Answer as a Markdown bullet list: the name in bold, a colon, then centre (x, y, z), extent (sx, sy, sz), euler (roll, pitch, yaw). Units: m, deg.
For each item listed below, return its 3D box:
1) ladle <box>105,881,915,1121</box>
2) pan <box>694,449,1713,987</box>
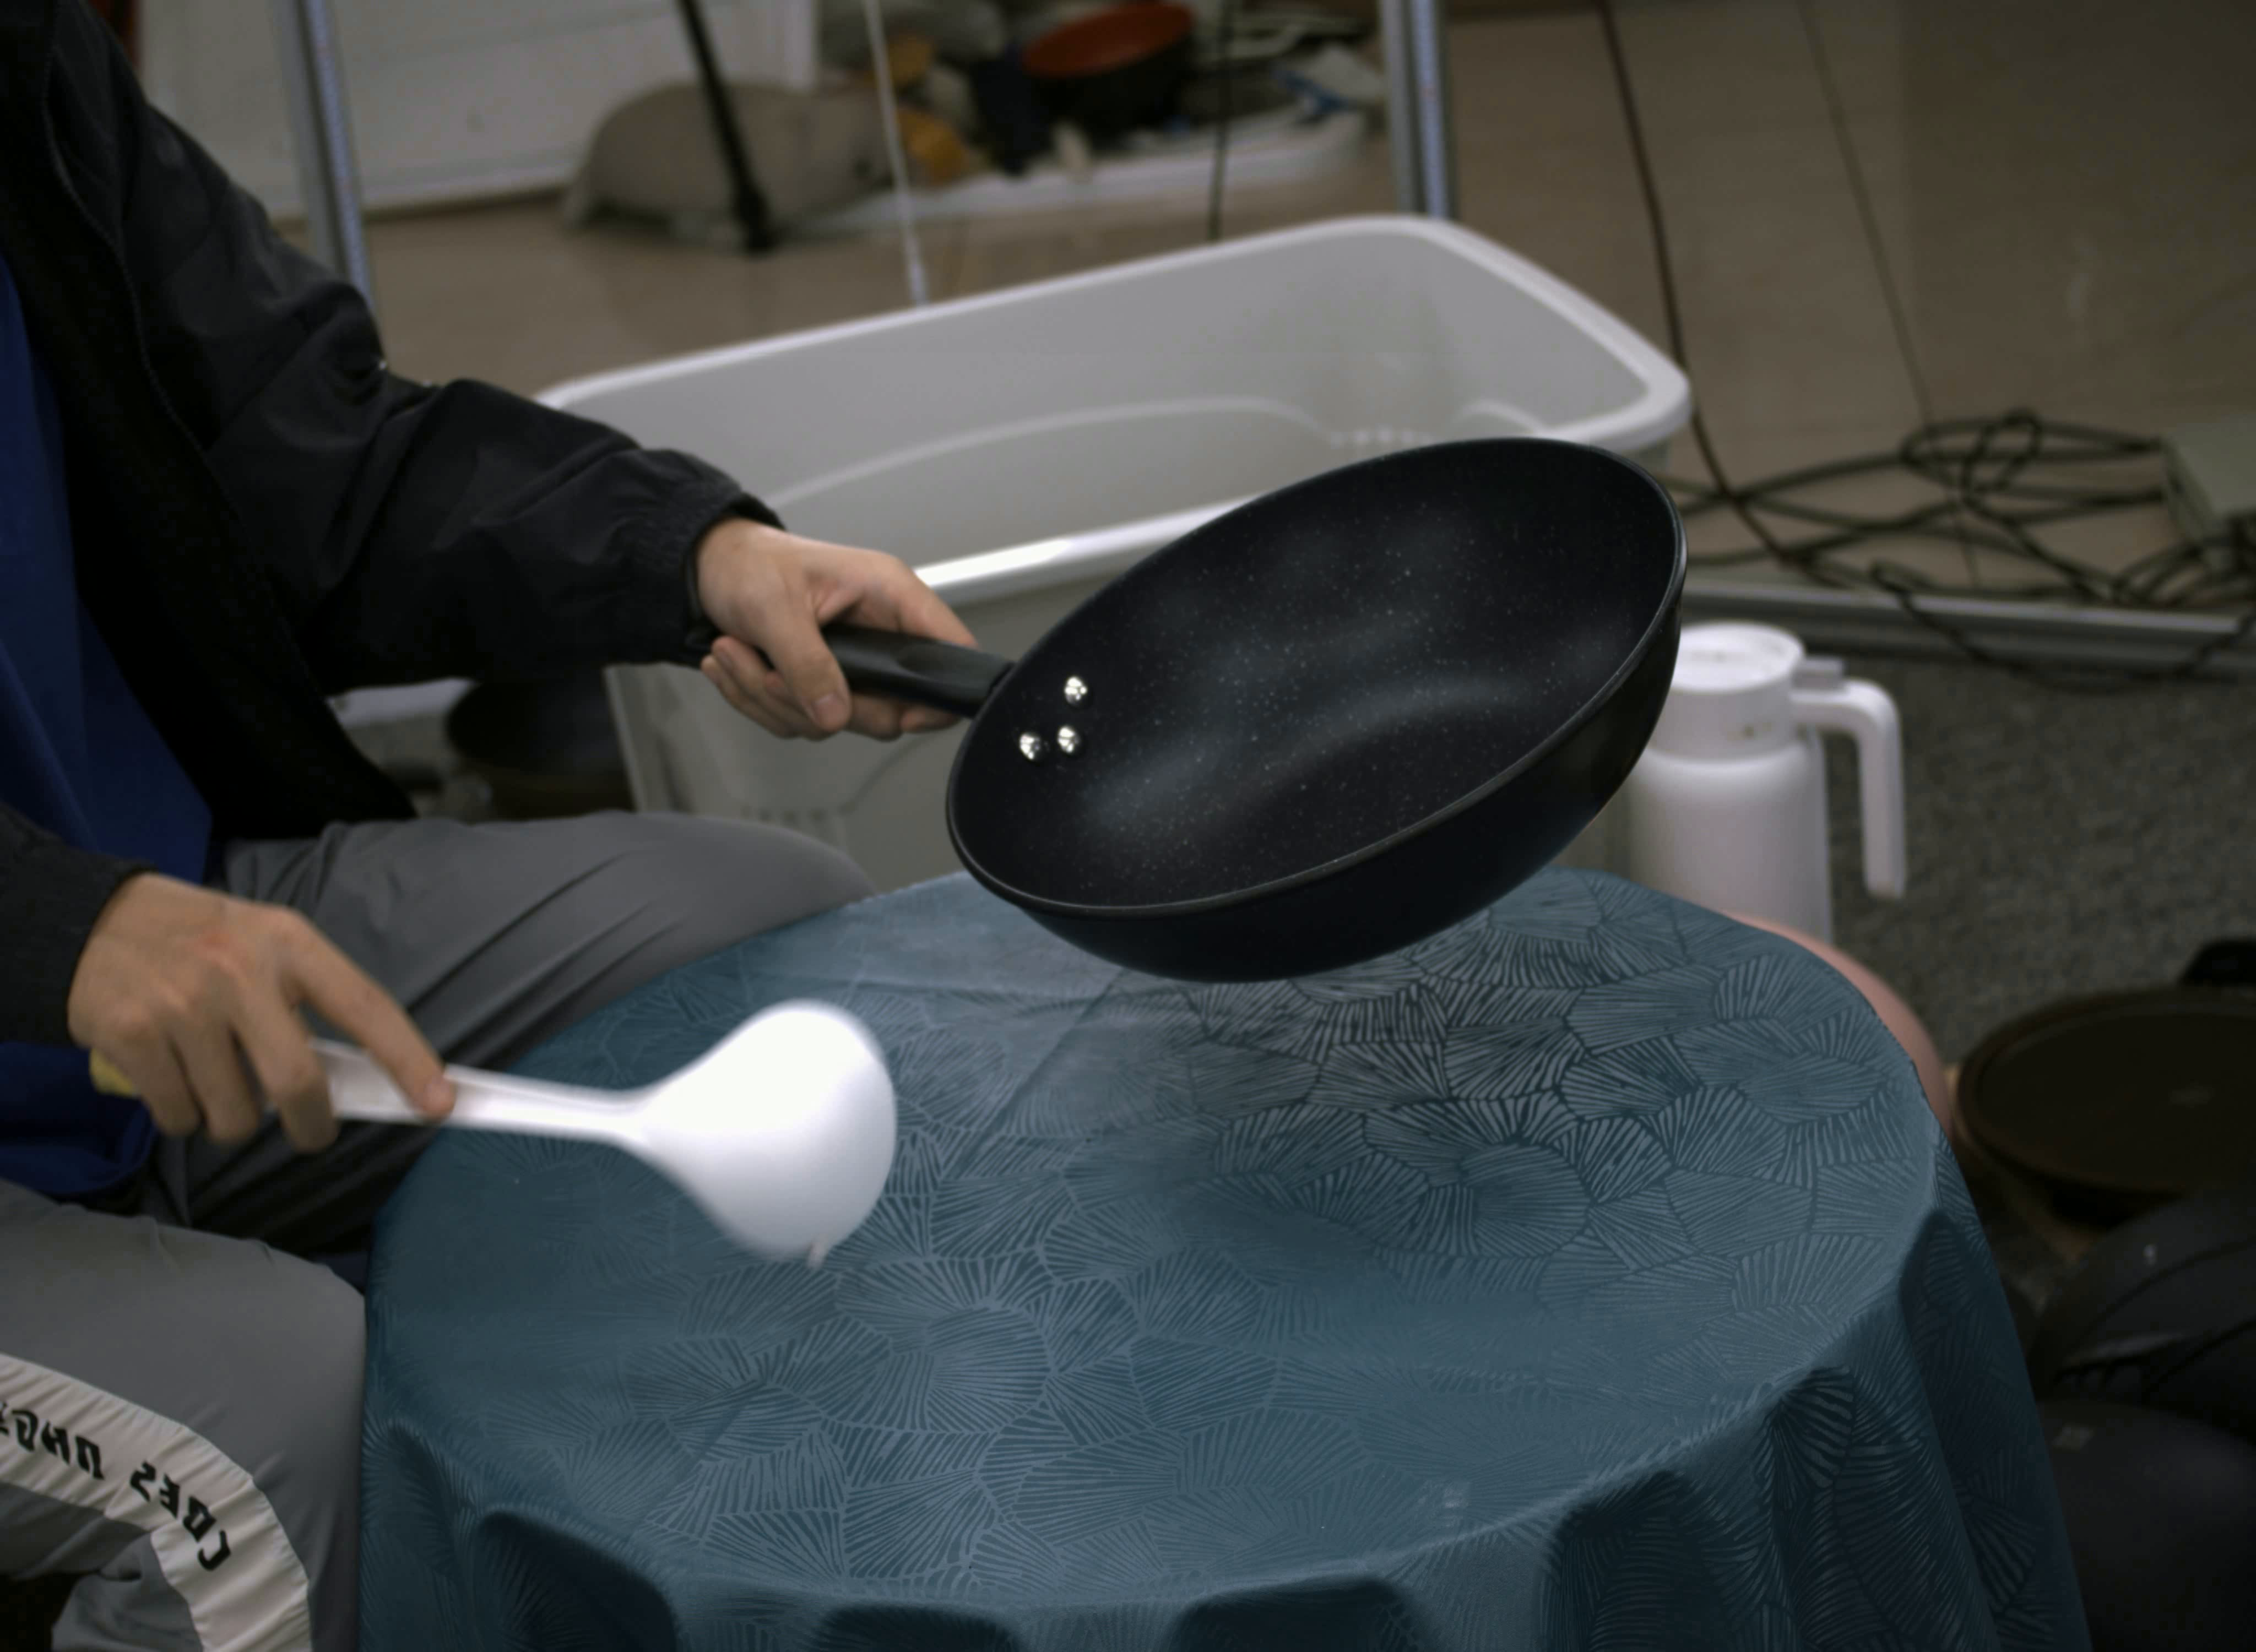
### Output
- **ladle**: centre (-0.226, 0.070, 2.071), extent (0.292, 0.091, 0.069), euler (-2, 15, 16)
- **pan**: centre (0.023, -0.038, 2.246), extent (0.476, 0.113, 0.306), euler (1, 38, 39)
